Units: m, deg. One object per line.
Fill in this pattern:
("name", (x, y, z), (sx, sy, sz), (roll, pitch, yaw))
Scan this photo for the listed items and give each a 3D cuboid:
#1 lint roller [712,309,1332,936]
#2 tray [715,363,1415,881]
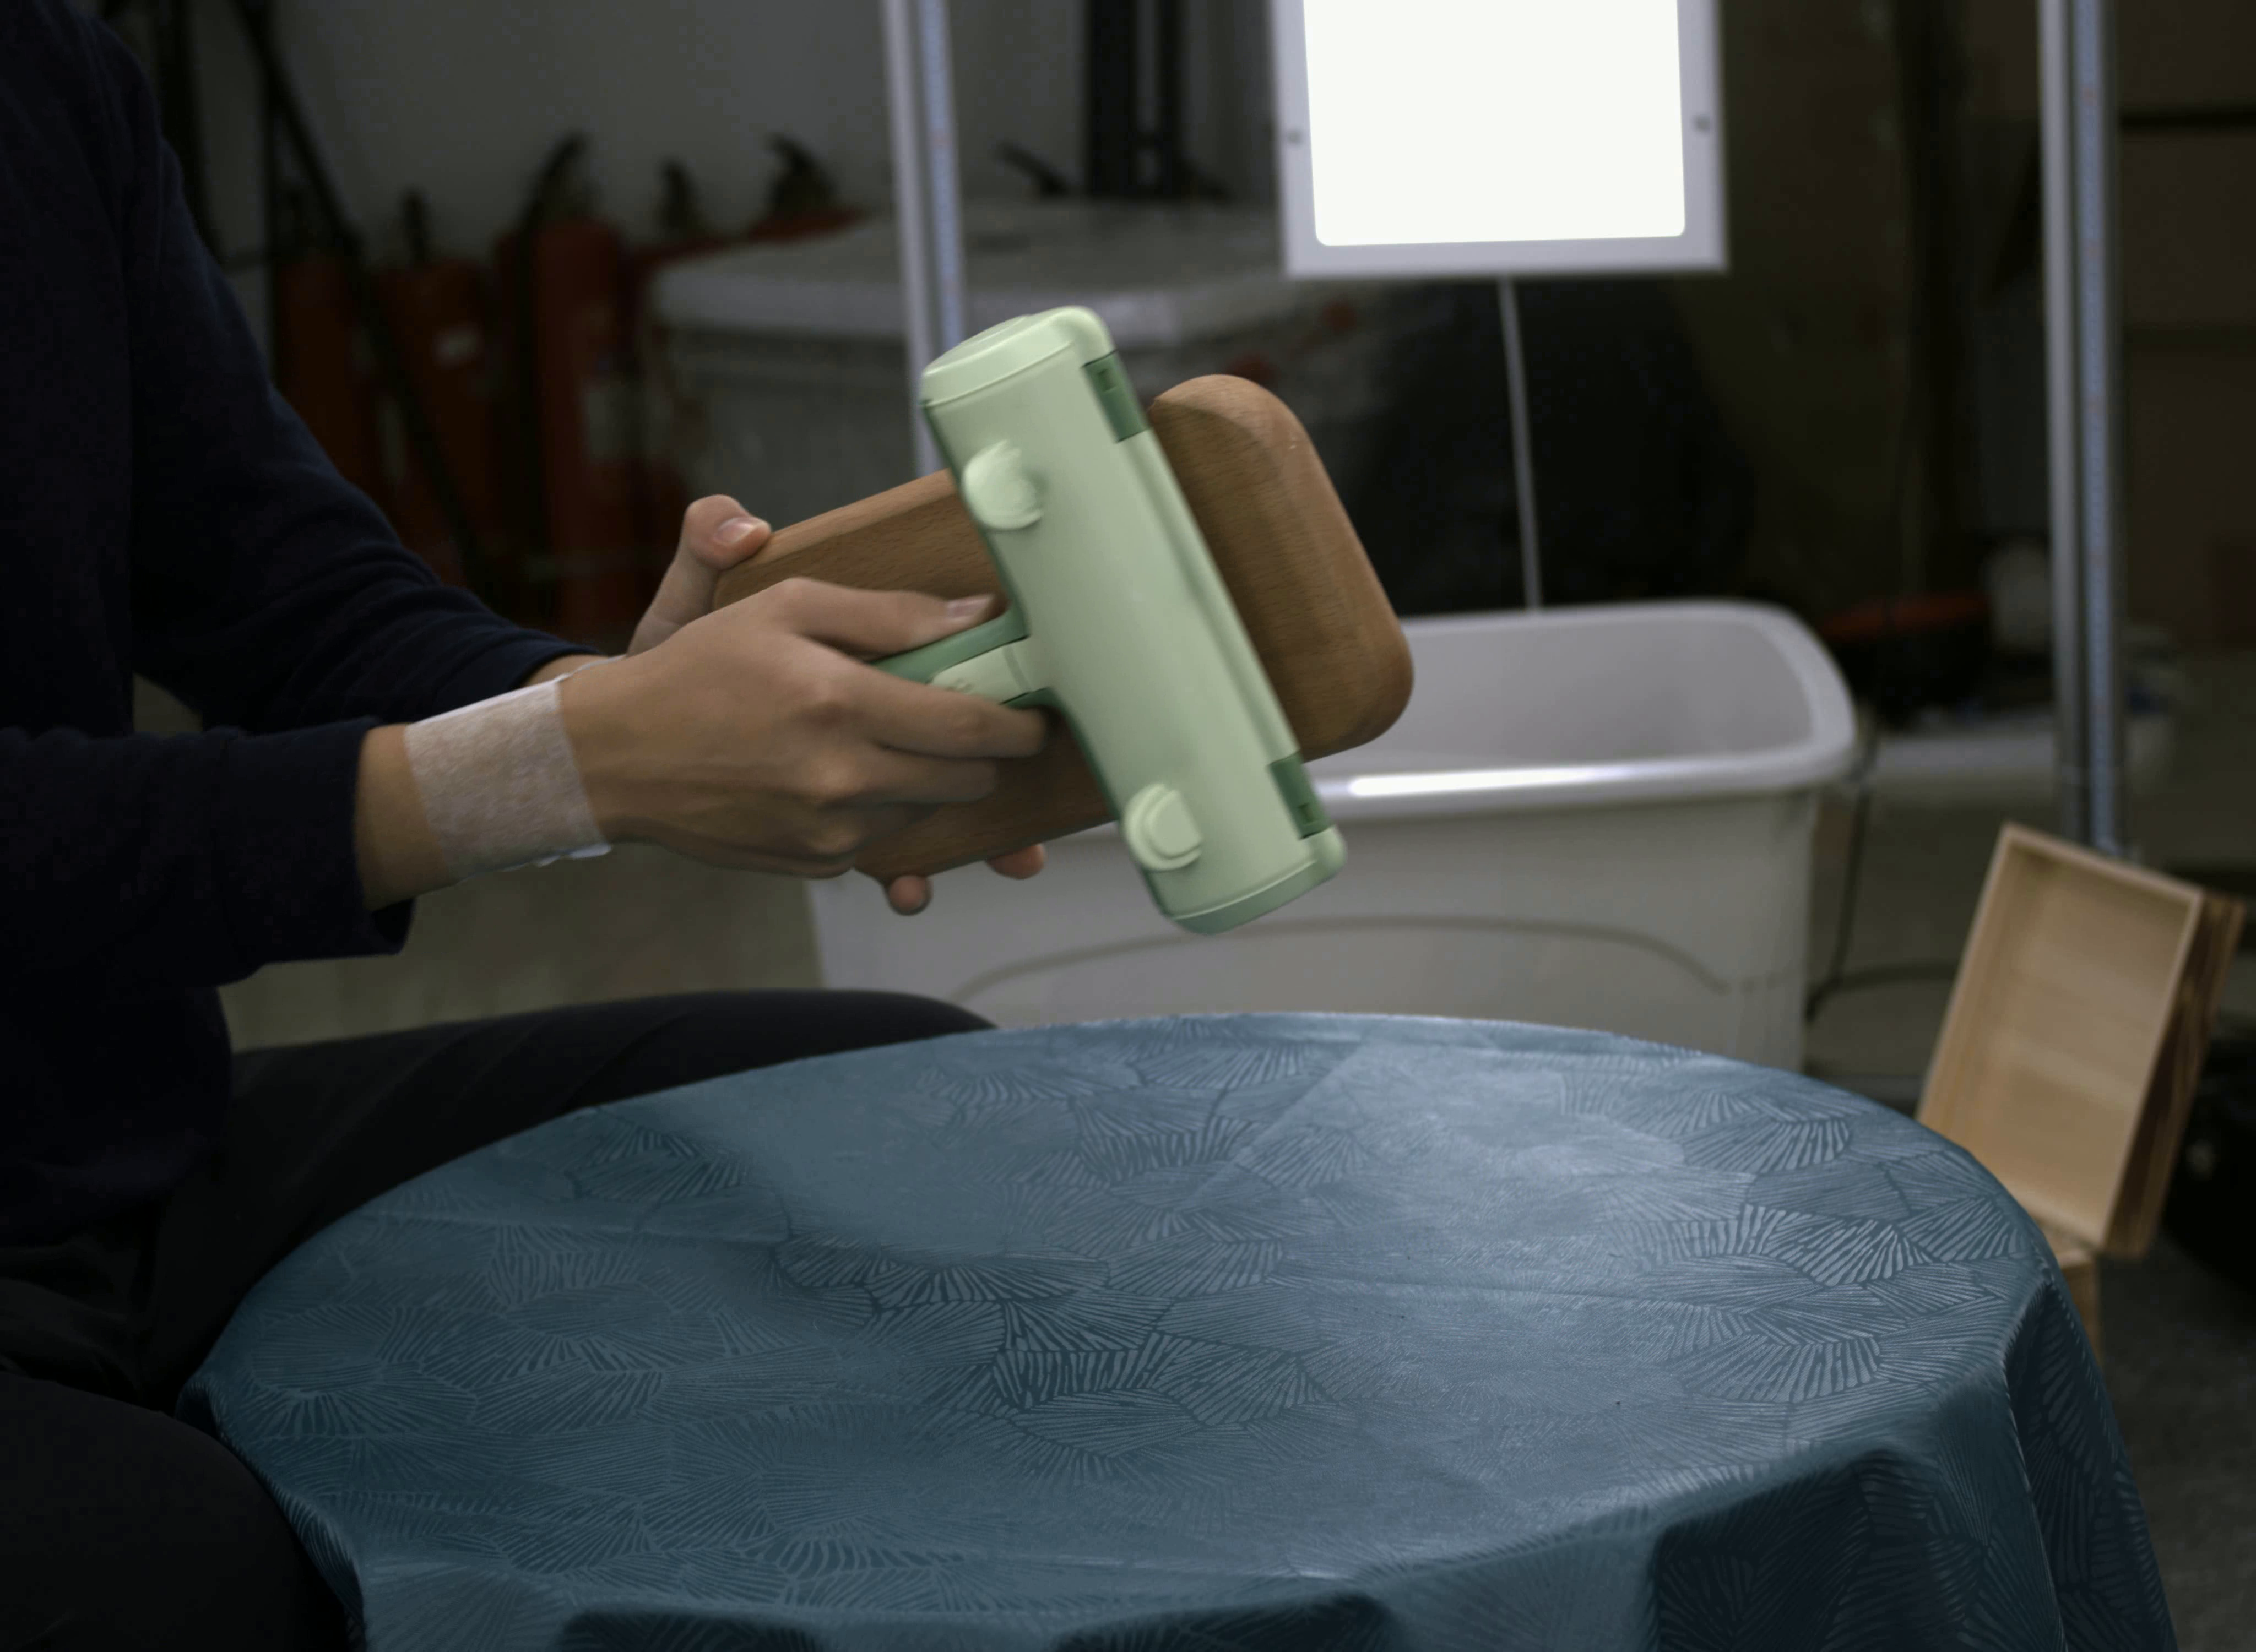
("lint roller", (-0.056, -0.039, 1.703), (0.185, 0.198, 0.081), (-23, 11, 19))
("tray", (-0.026, -0.060, 1.751), (0.256, 0.130, 0.022), (-18, 12, 41))
